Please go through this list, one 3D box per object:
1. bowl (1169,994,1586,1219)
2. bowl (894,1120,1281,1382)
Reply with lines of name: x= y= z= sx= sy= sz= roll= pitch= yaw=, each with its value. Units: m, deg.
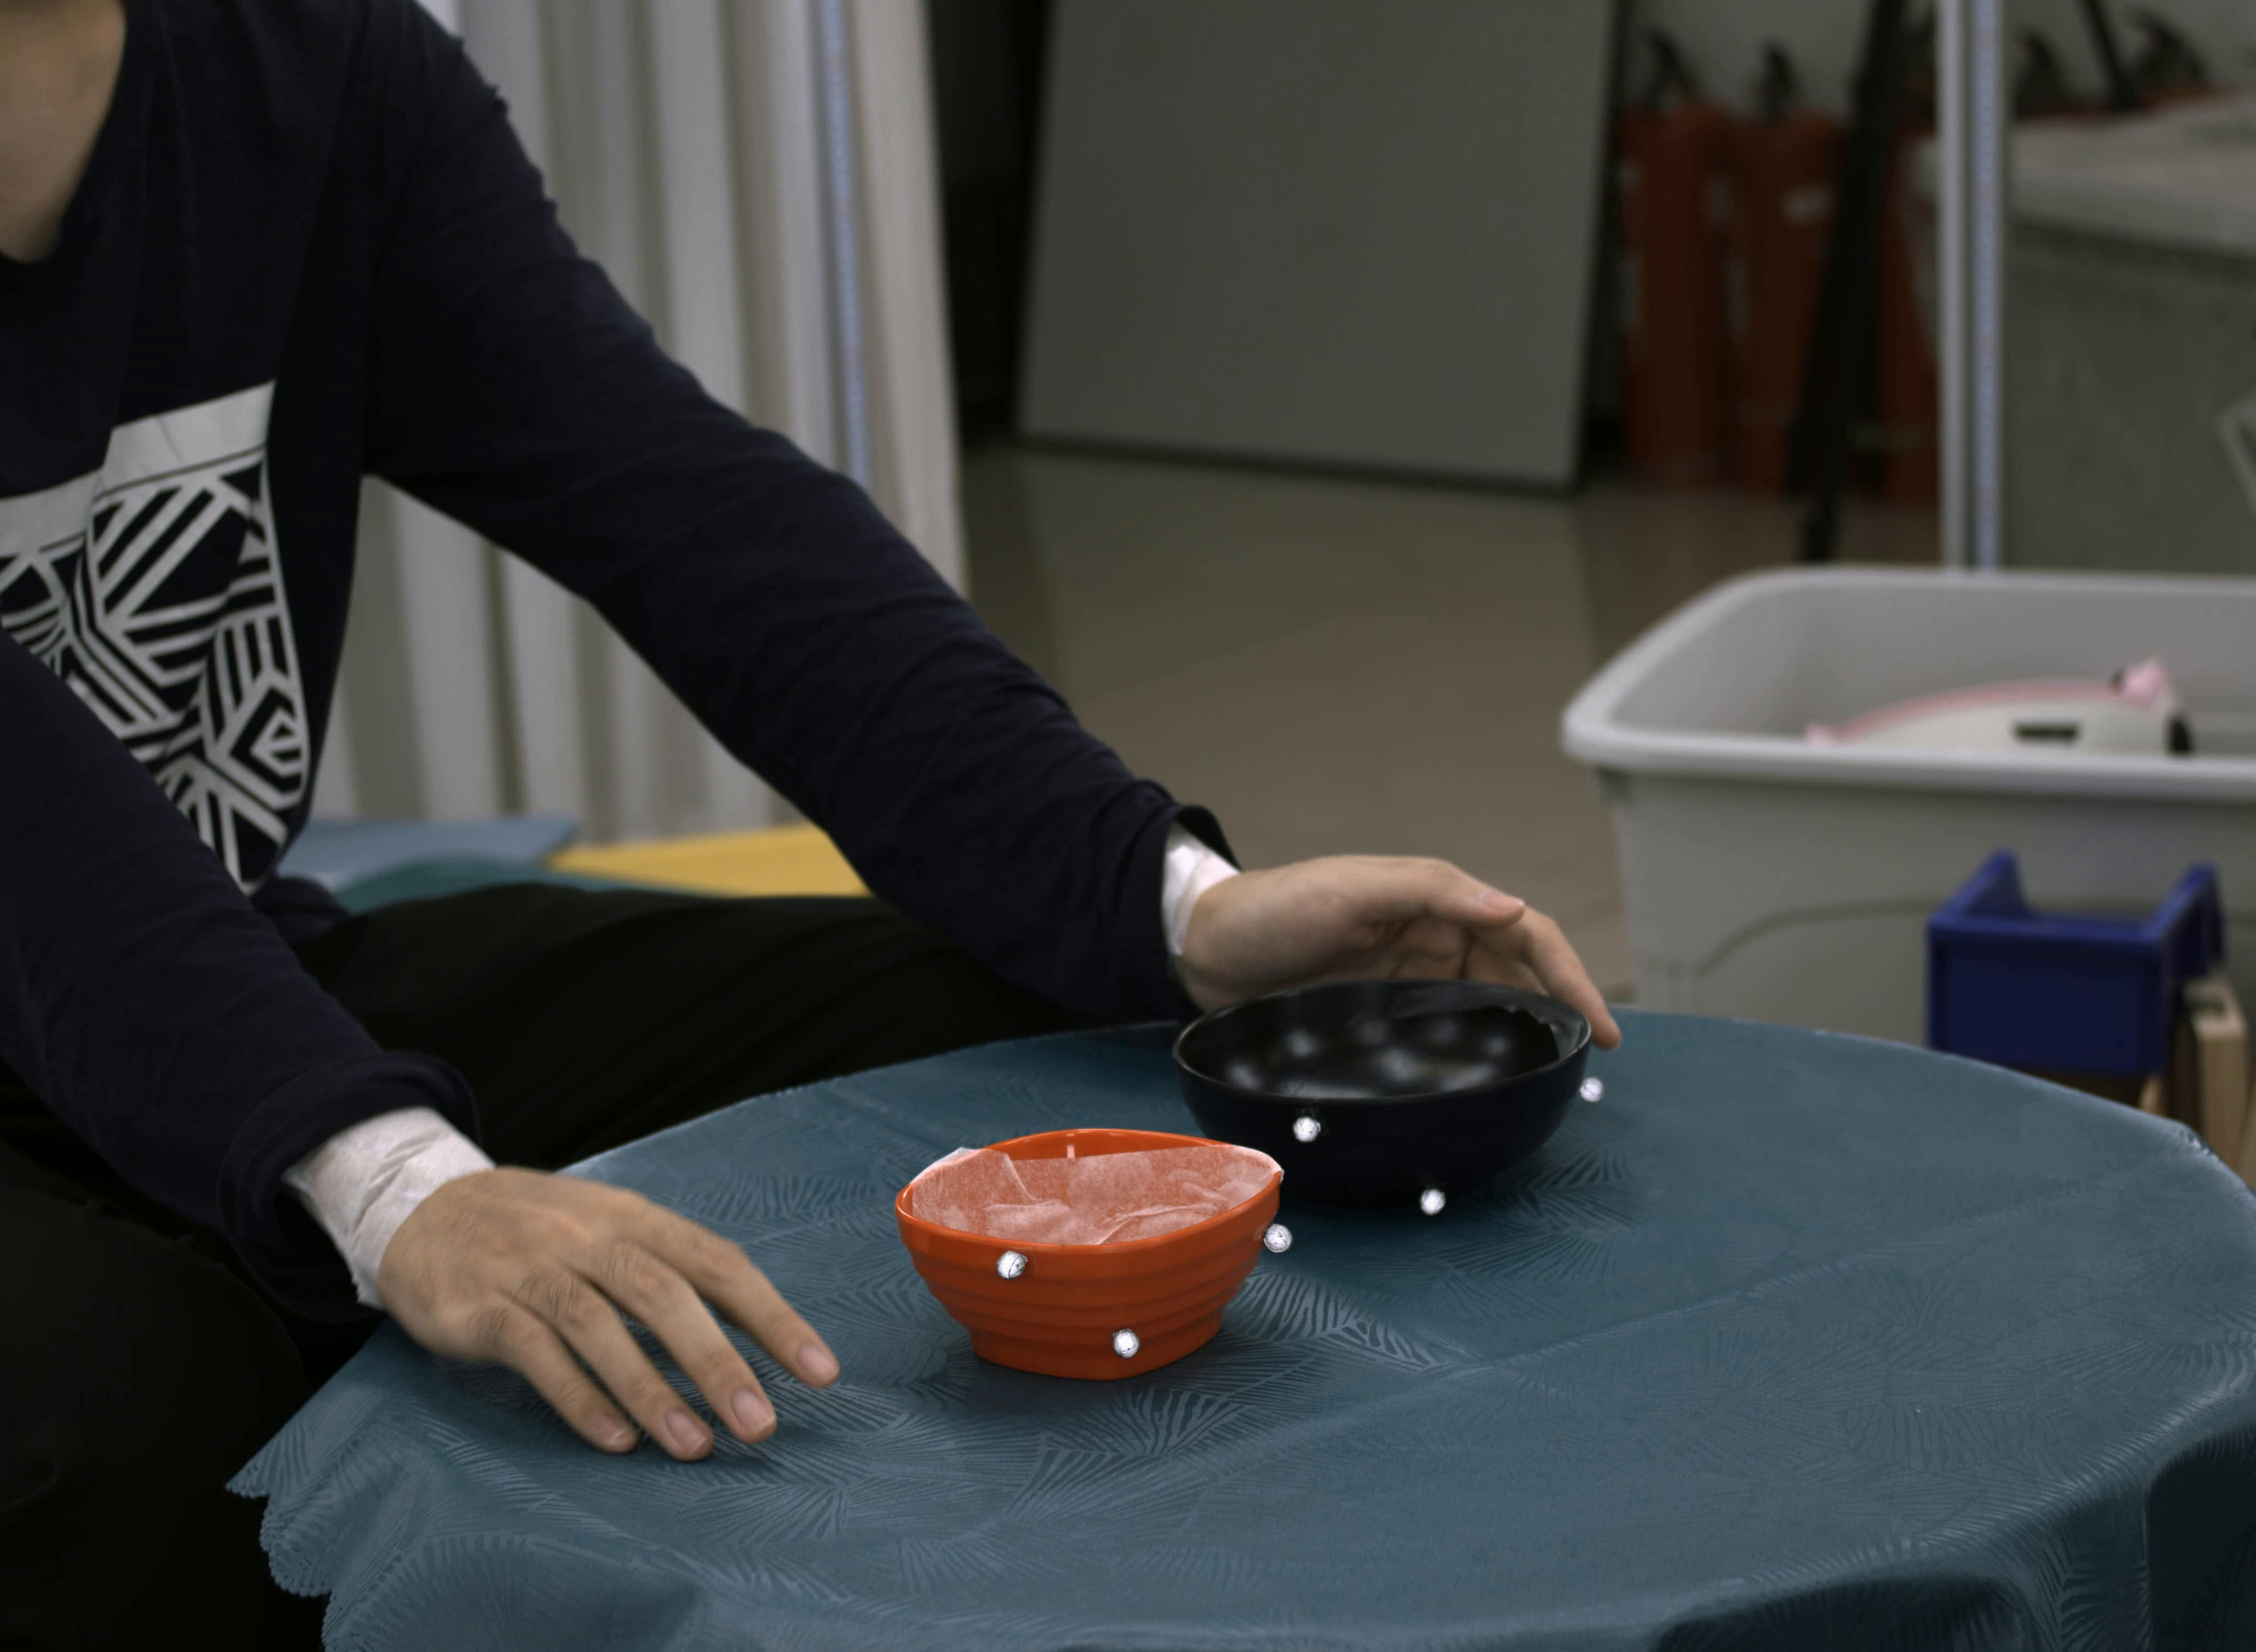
bowl: x=0.084 y=0.095 z=1.765 sx=0.138 sy=0.050 sz=0.140 roll=-7 pitch=10 yaw=0
bowl: x=-0.011 y=0.130 z=1.628 sx=0.117 sy=0.052 sz=0.119 roll=-3 pitch=15 yaw=0
